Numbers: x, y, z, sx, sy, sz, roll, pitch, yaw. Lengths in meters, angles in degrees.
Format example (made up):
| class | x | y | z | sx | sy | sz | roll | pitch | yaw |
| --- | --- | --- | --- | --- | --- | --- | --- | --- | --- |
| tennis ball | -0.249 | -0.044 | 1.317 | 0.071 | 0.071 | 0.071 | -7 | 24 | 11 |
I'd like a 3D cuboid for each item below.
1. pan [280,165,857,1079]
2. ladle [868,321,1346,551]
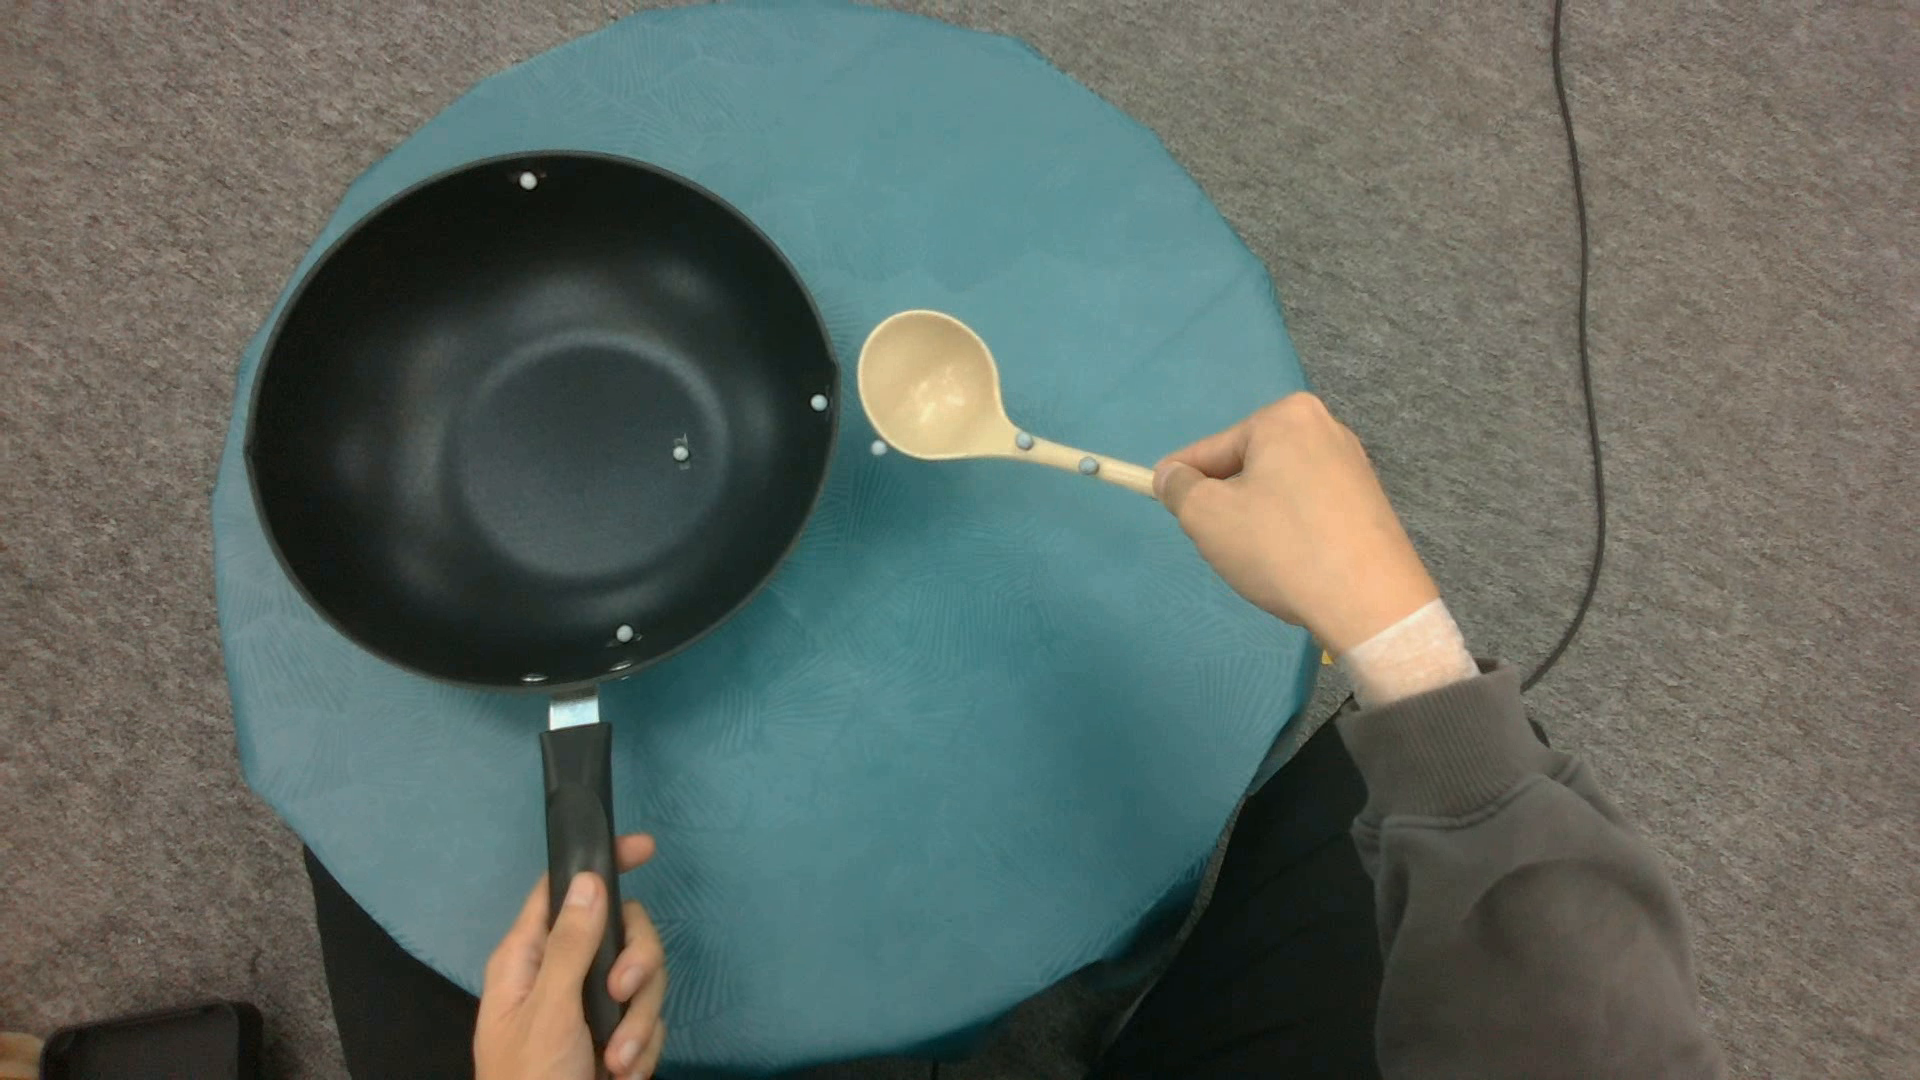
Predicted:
| class | x | y | z | sx | sy | sz | roll | pitch | yaw |
| --- | --- | --- | --- | --- | --- | --- | --- | --- | --- |
| pan | -0.183 | 0.036 | 0.702 | 0.288 | 0.086 | 0.464 | -8 | 76 | -3 |
| ladle | 0.054 | -0.050 | 0.622 | 0.254 | 0.072 | 0.072 | 19 | 62 | 45 |
